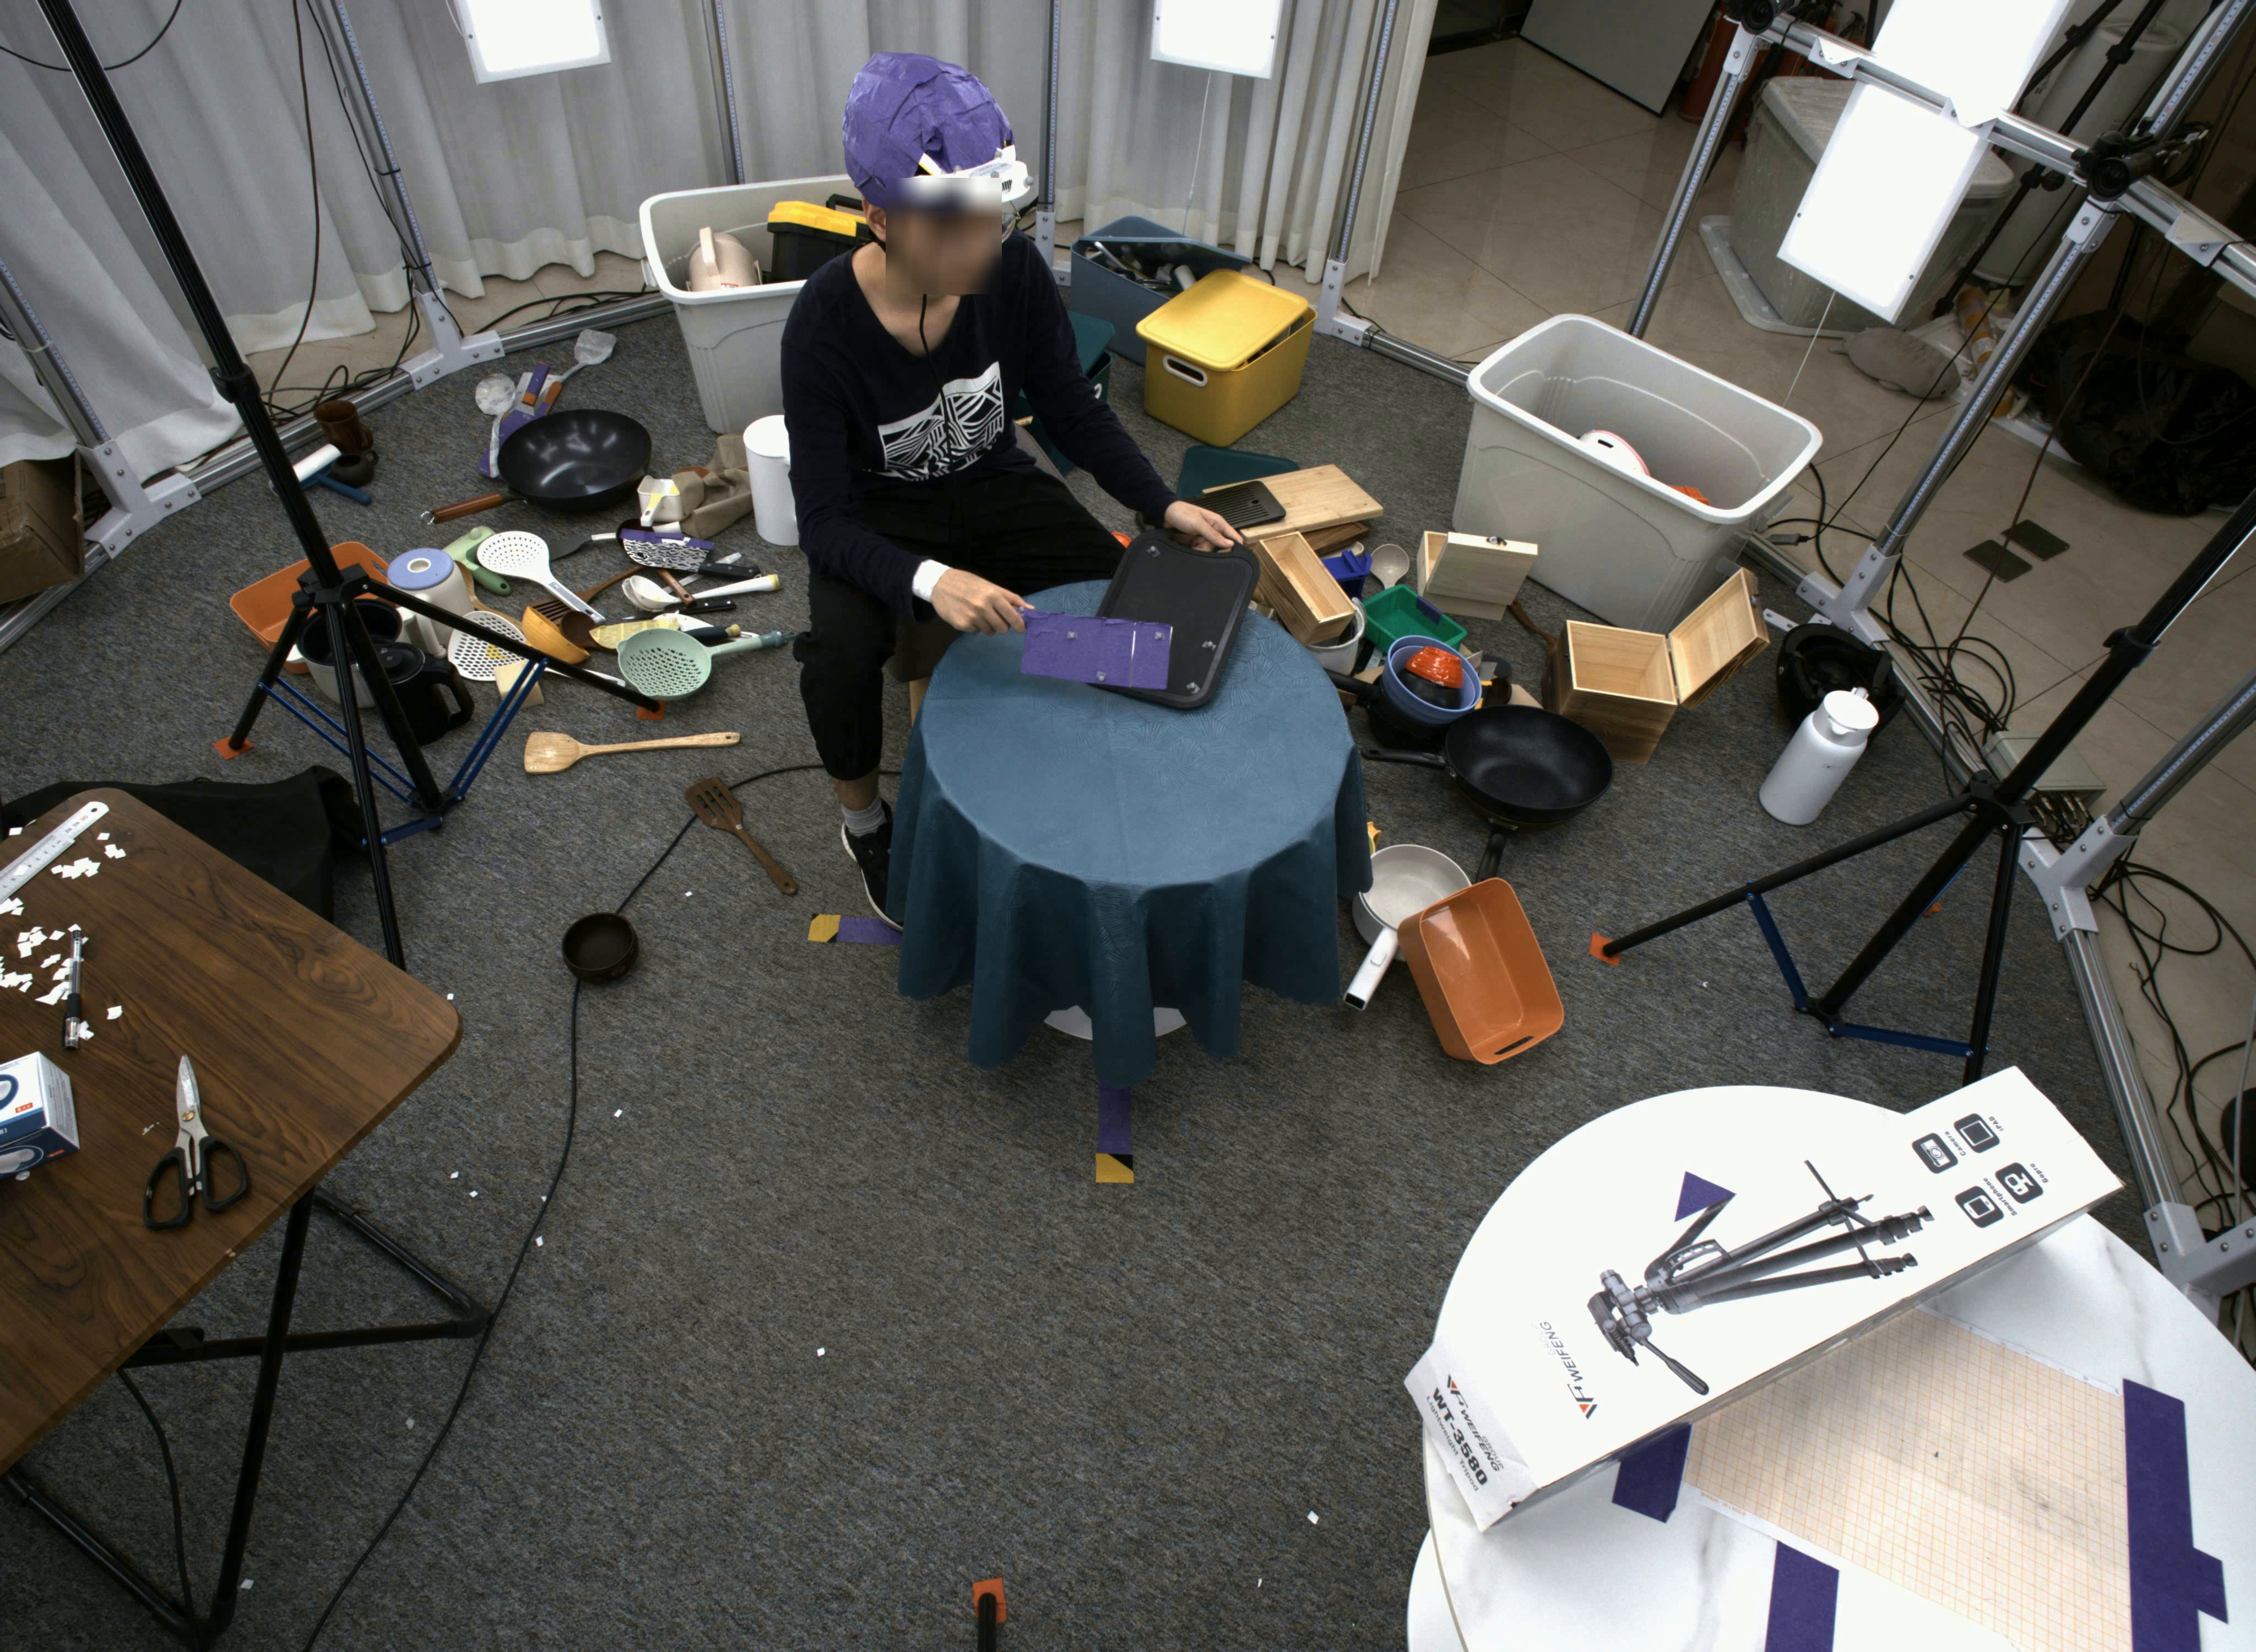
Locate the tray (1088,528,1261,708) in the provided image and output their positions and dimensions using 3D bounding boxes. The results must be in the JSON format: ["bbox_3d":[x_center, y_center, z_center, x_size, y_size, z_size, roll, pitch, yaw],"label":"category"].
[{"bbox_3d":[0.066,-0.320,1.900,0.212,0.009,0.331,15,61,13],"label":"tray"}]

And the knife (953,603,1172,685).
[{"bbox_3d":[-0.095,-0.253,1.791,0.316,0.032,0.104,7,92,13],"label":"knife"}]
